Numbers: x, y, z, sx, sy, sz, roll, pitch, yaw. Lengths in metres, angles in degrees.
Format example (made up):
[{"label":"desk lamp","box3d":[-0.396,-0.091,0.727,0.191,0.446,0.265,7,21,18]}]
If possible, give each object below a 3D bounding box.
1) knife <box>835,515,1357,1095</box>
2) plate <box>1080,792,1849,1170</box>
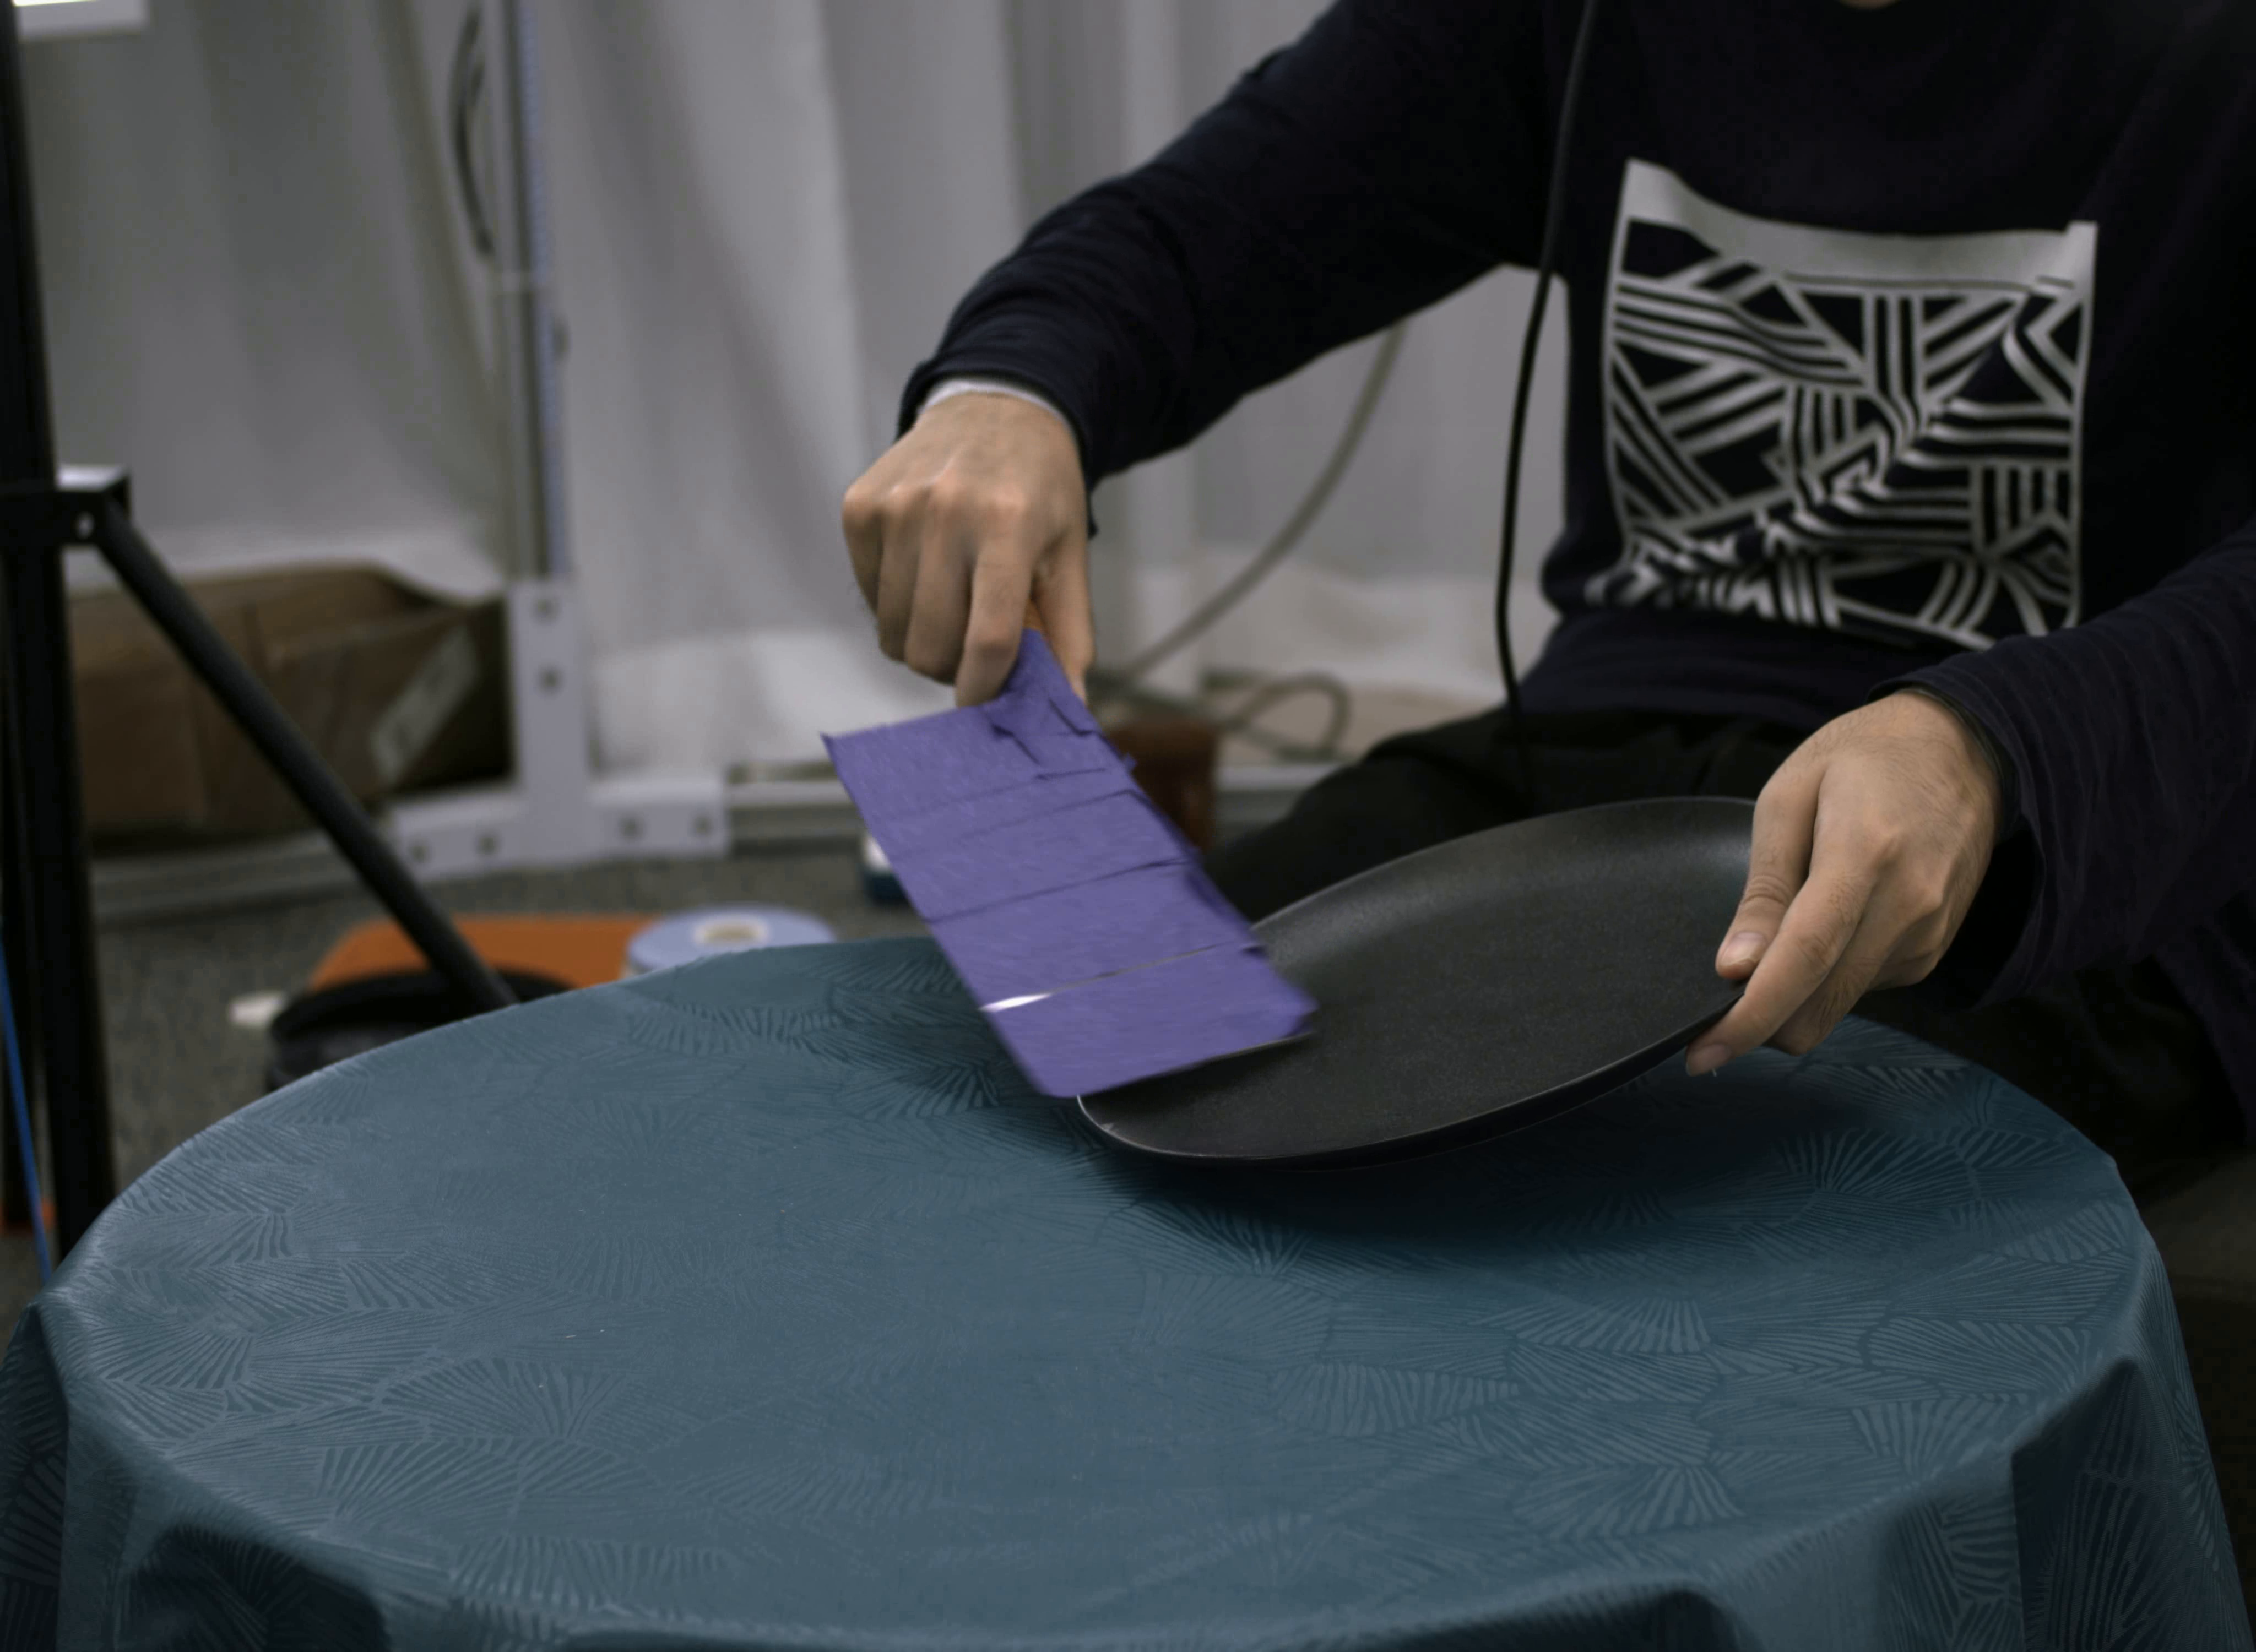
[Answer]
[{"label":"knife","box3d":[-0.038,-0.012,1.731,0.102,0.032,0.322,-14,35,-19]},{"label":"plate","box3d":[0.103,0.052,1.607,0.244,0.023,0.246,-19,17,4]}]
